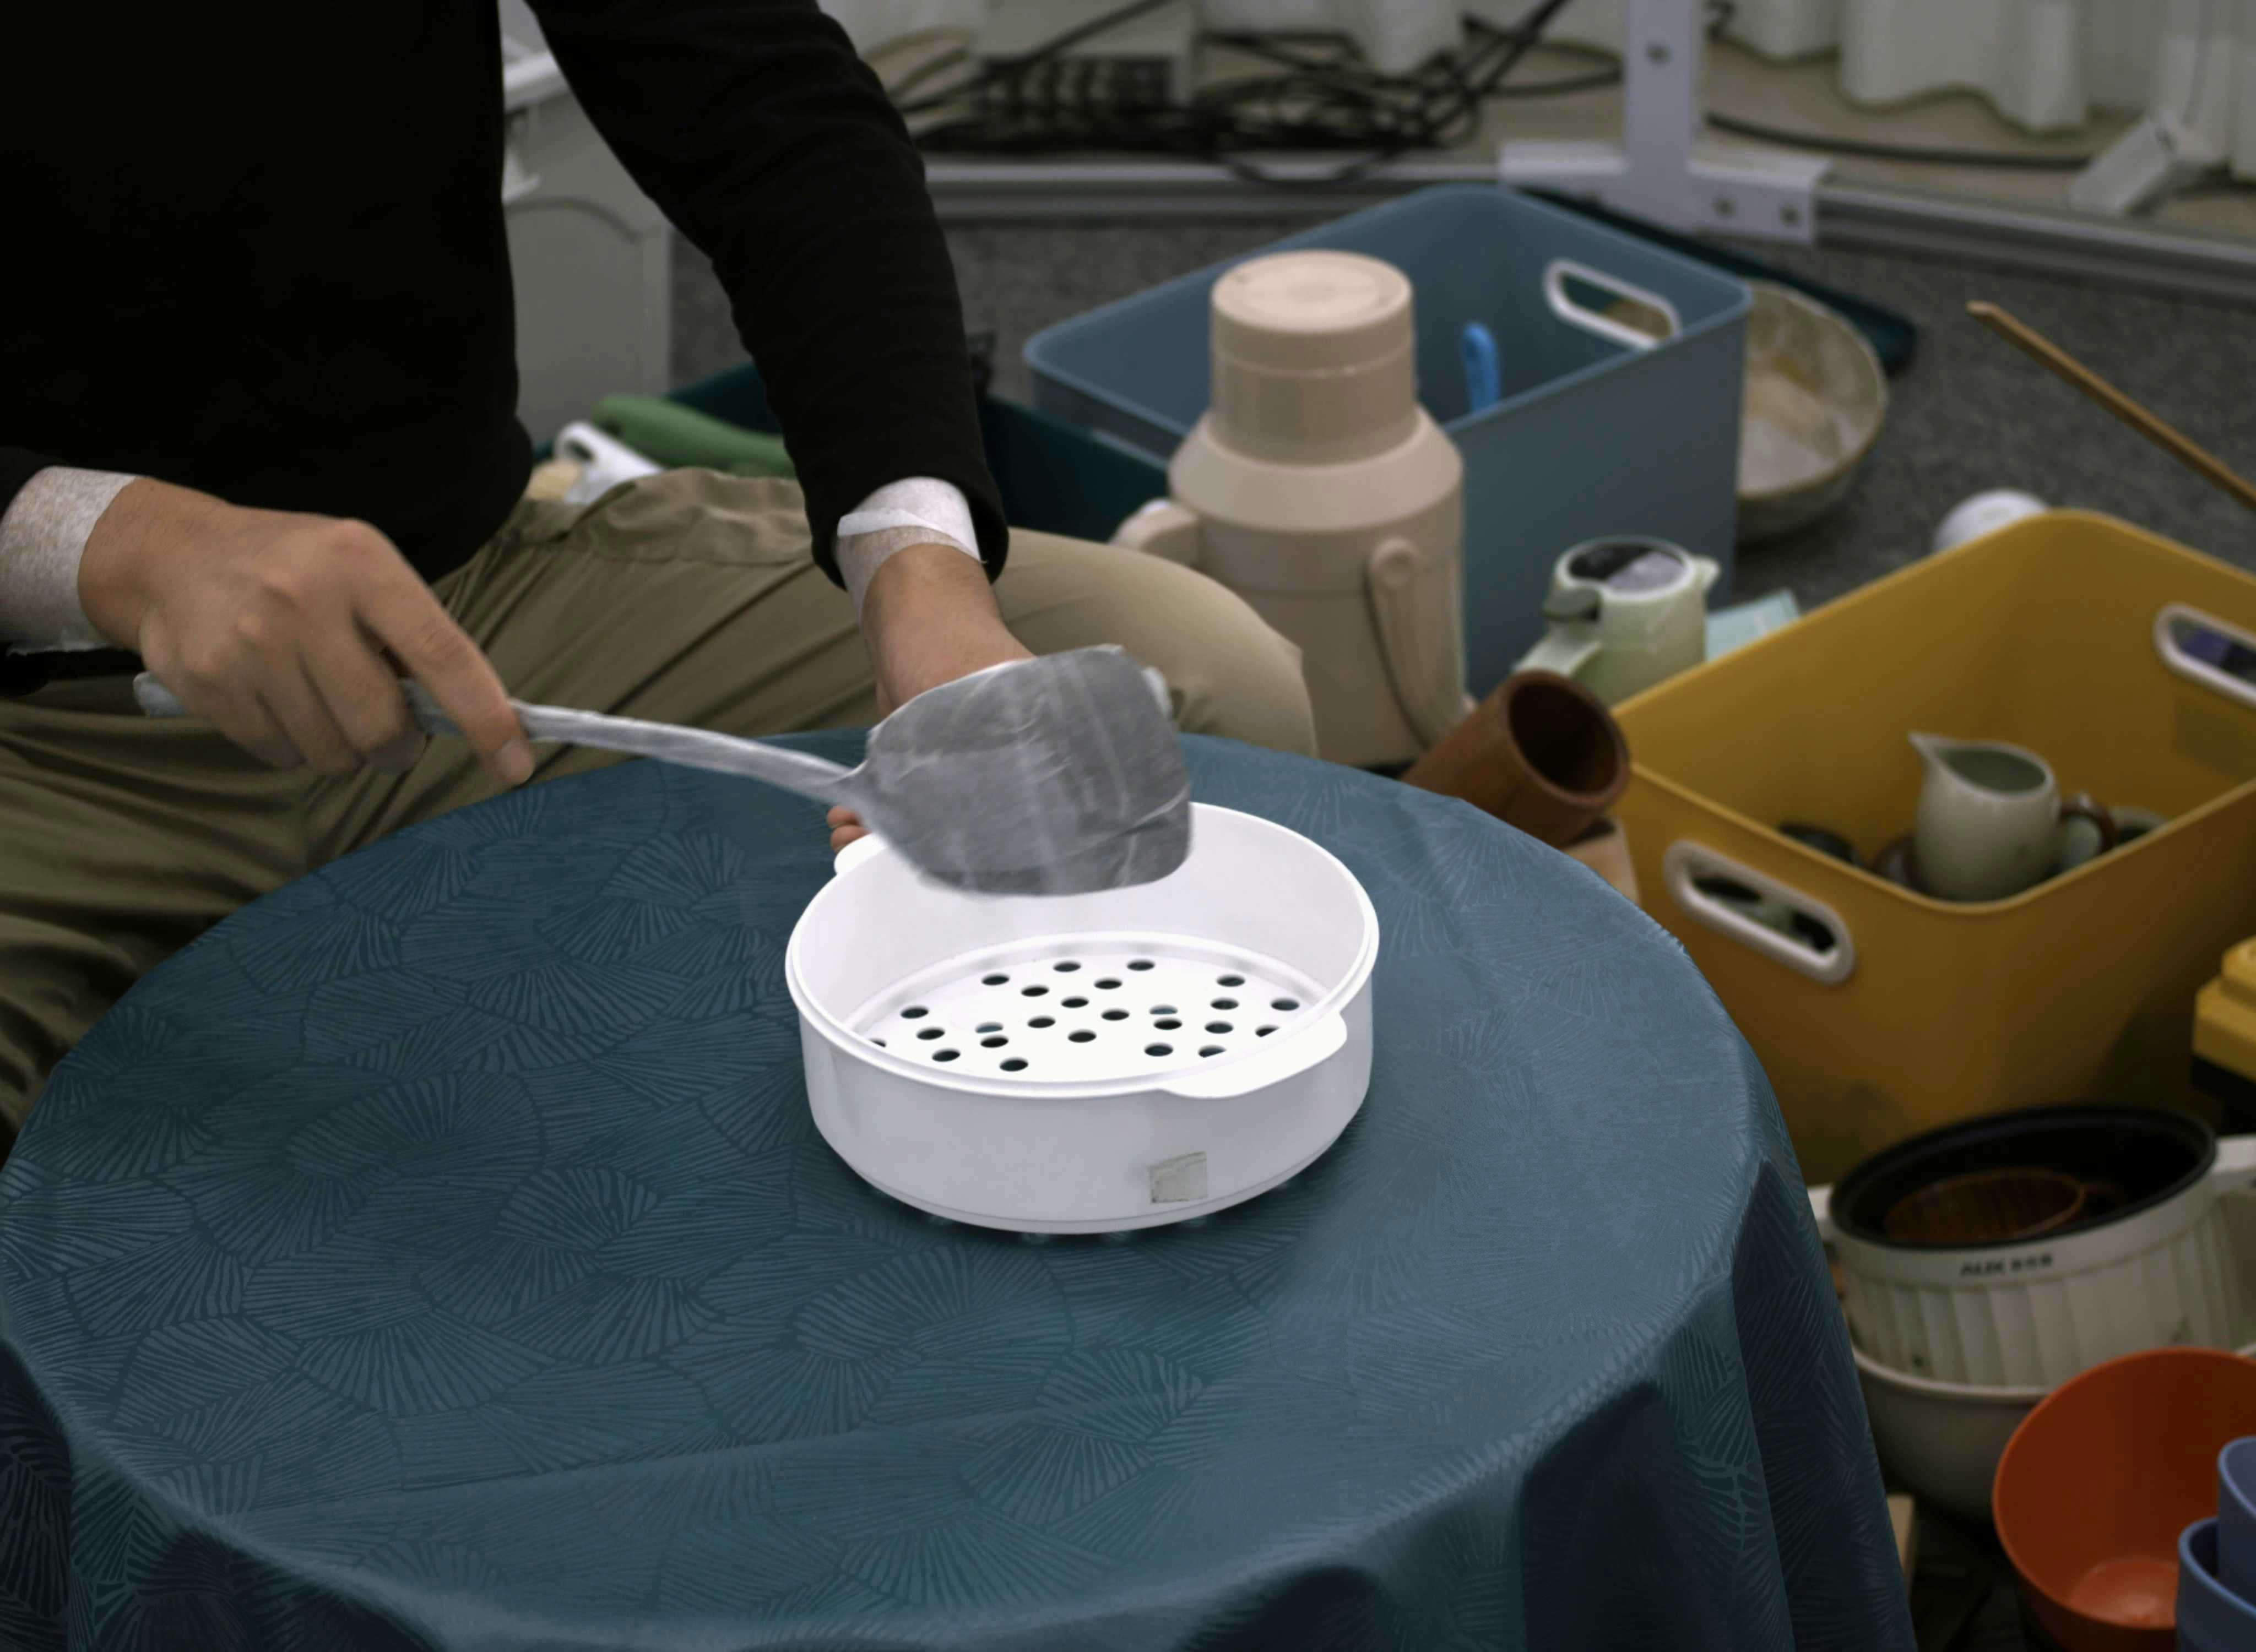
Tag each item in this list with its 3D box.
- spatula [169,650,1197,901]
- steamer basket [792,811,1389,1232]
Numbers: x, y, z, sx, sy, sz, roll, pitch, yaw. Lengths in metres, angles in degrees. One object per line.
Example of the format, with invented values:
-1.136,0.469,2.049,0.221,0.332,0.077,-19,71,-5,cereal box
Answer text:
-0.152,-0.027,1.812,0.362,0.097,0.045,8,45,25,spatula
-0.011,0.066,1.895,0.203,0.068,0.231,-19,30,-31,steamer basket
